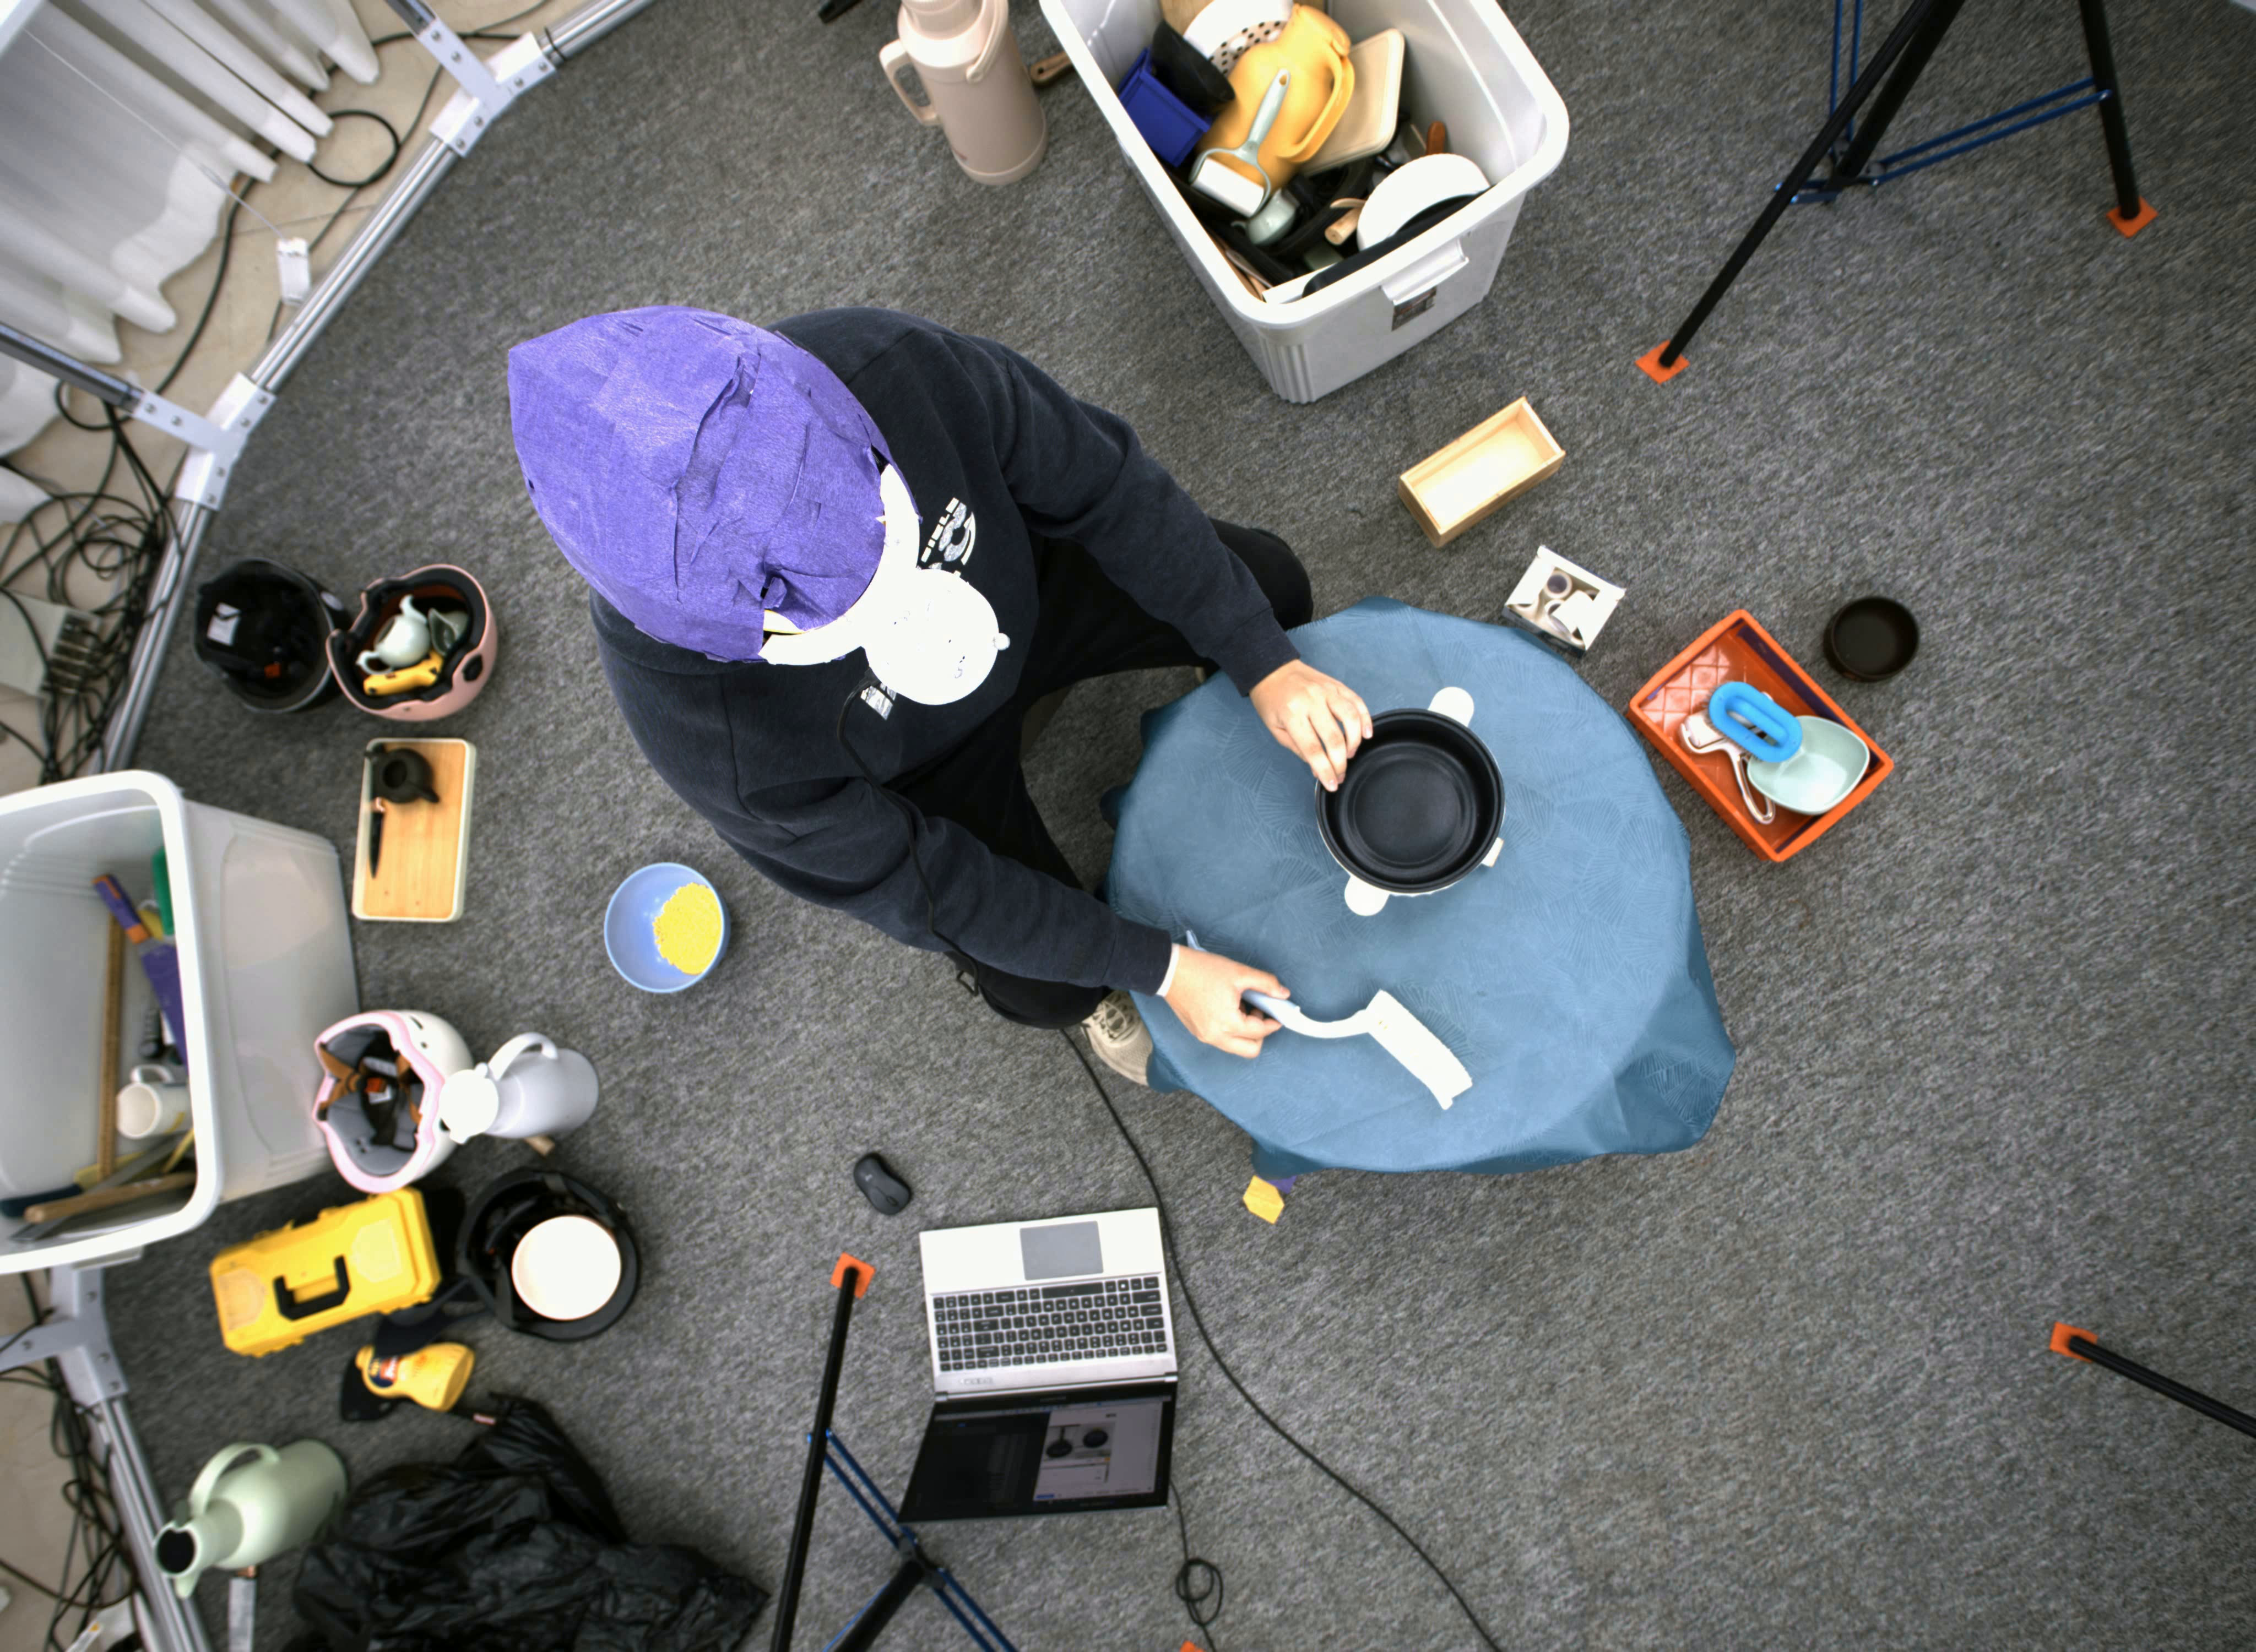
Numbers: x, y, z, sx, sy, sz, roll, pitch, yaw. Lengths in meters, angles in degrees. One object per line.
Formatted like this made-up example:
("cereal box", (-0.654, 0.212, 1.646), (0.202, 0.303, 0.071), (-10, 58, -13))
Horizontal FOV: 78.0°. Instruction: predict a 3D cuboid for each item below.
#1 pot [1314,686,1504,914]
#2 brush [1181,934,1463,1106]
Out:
("pot", (0.288, -0.019, 1.392), (0.190, 0.143, 0.240), (24, 91, 15))
("brush", (0.205, 0.171, 1.430), (0.324, 0.085, 0.082), (30, 55, 14))
